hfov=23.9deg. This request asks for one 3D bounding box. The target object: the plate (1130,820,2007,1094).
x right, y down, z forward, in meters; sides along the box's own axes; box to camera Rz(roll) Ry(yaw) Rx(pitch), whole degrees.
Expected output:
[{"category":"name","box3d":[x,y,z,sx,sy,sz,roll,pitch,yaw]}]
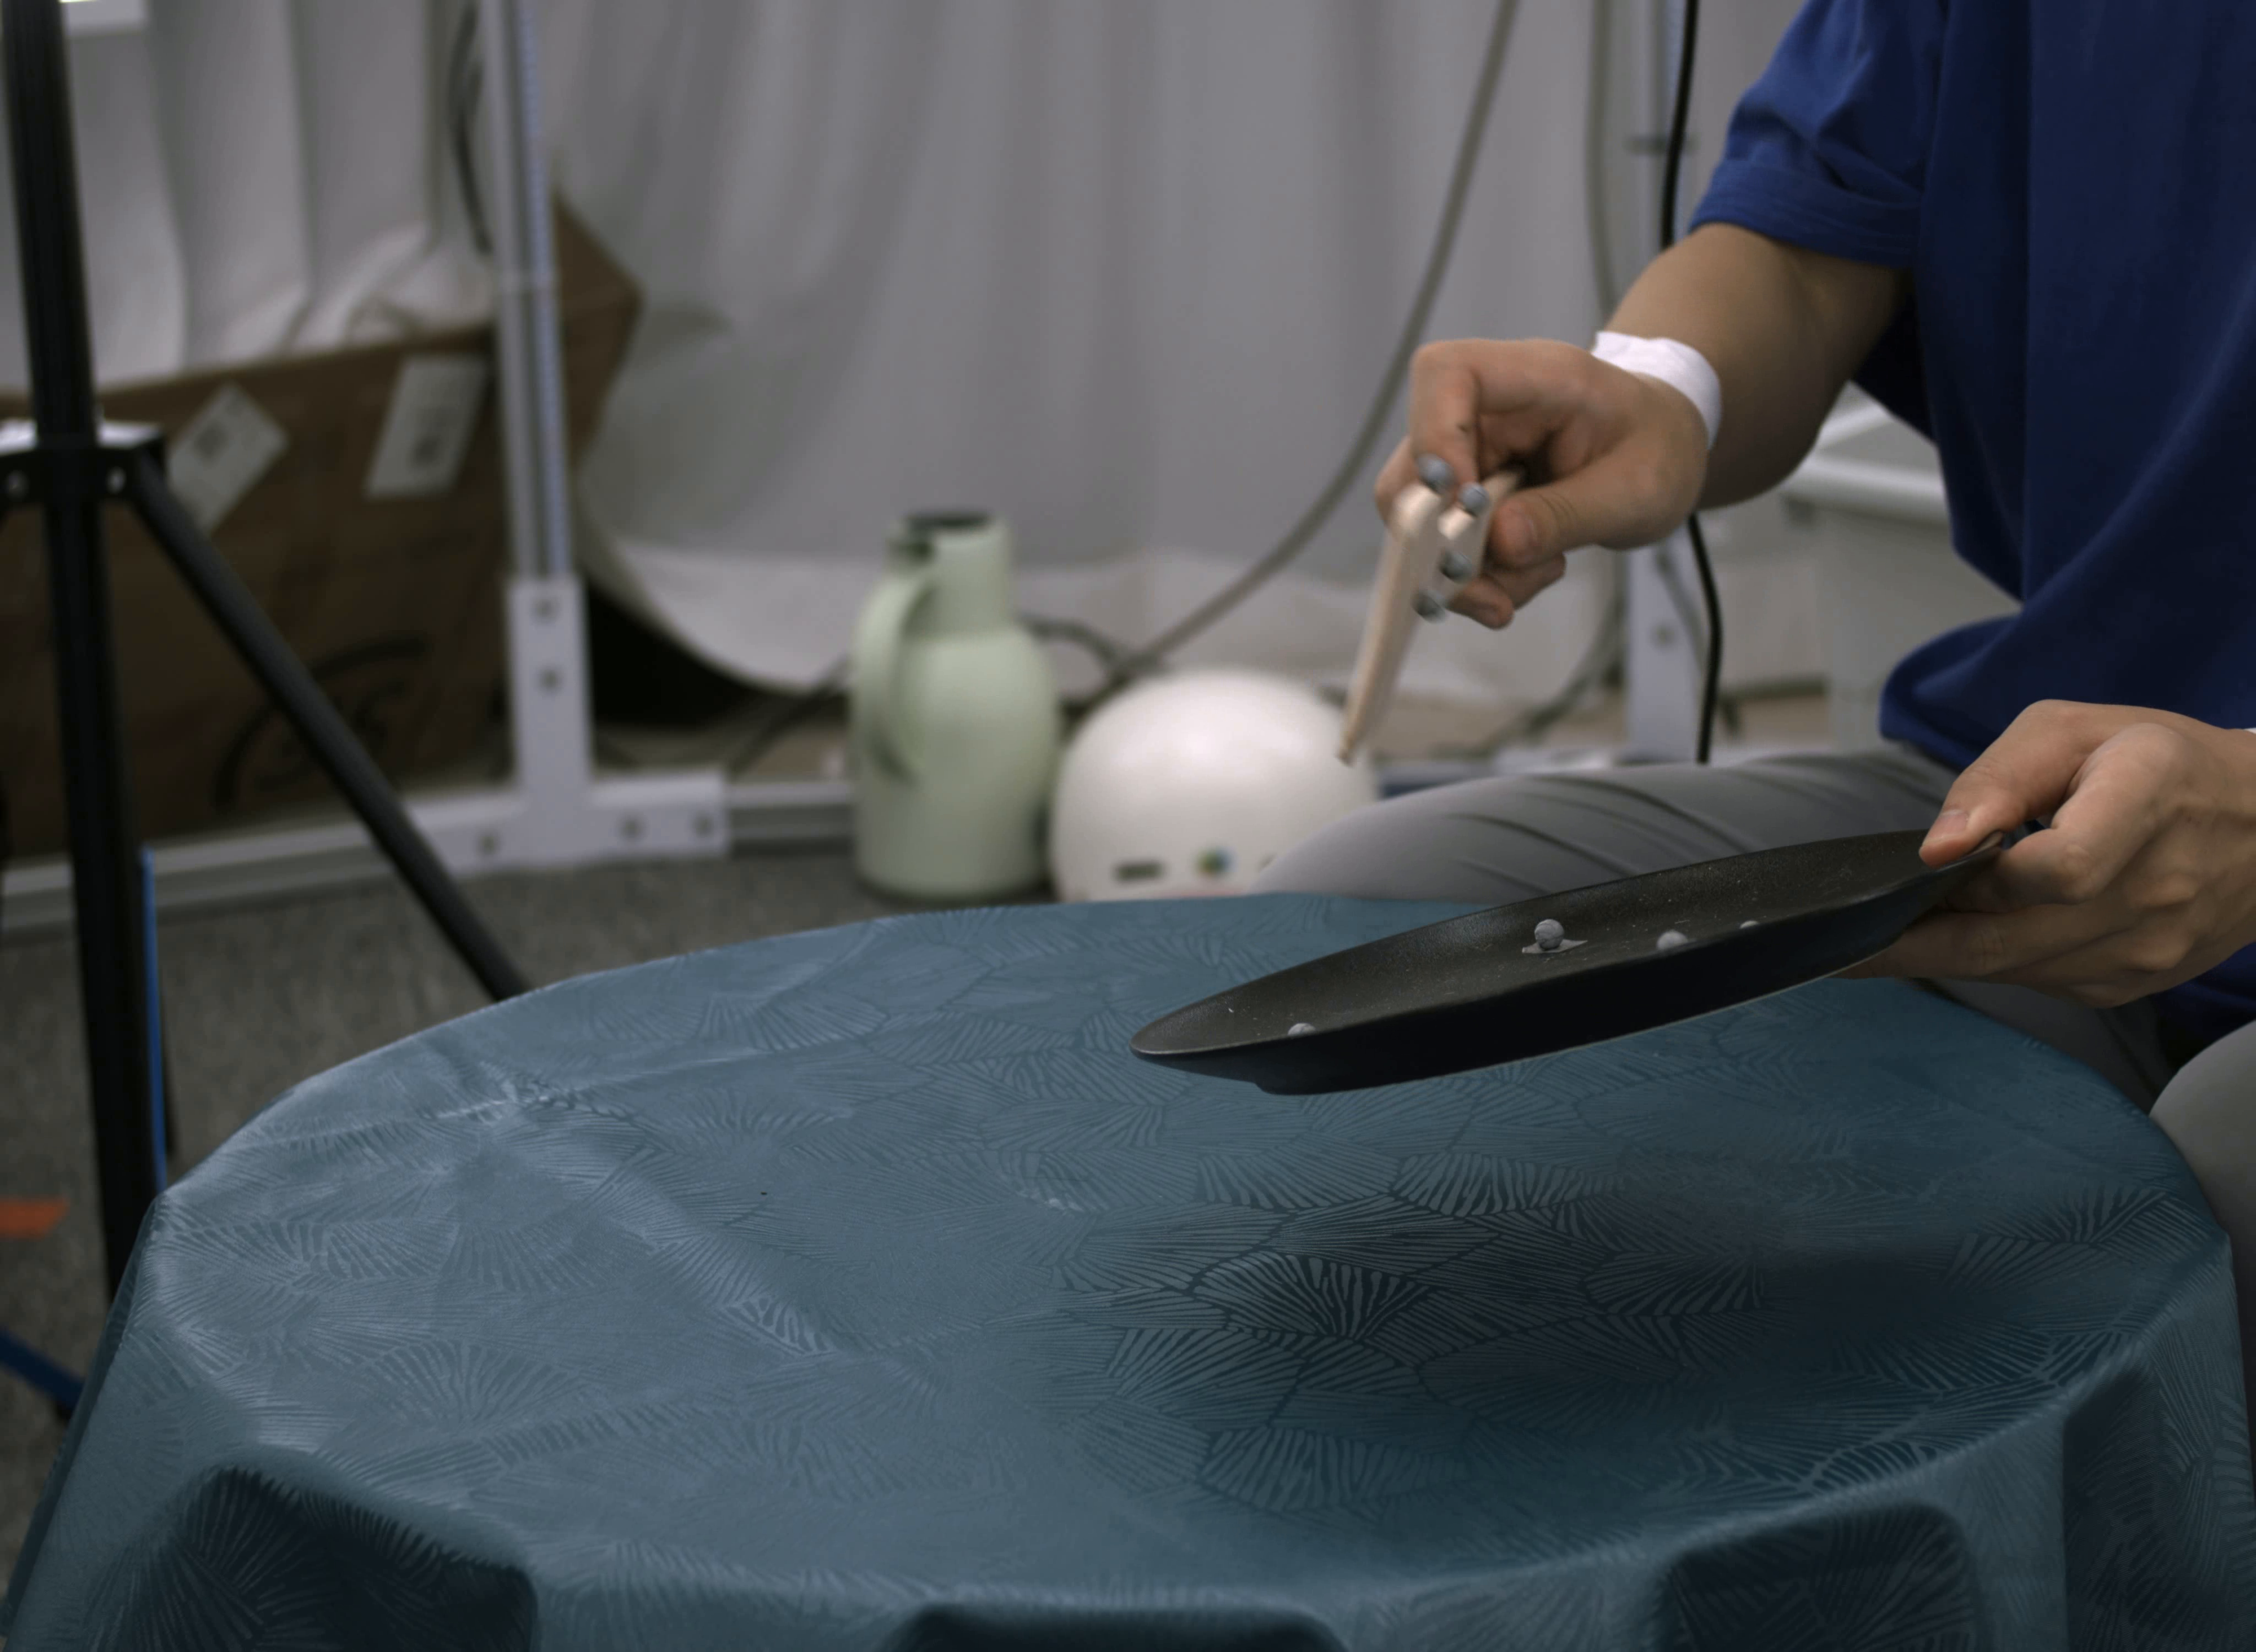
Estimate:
[{"category":"plate","box3d":[0.120,0.039,1.434,0.243,0.023,0.245,-14,3,-1]}]

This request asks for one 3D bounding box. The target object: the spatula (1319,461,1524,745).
[{"category":"spatula","box3d":[0.089,-0.079,1.547,0.011,0.072,0.290,14,13,10]}]
